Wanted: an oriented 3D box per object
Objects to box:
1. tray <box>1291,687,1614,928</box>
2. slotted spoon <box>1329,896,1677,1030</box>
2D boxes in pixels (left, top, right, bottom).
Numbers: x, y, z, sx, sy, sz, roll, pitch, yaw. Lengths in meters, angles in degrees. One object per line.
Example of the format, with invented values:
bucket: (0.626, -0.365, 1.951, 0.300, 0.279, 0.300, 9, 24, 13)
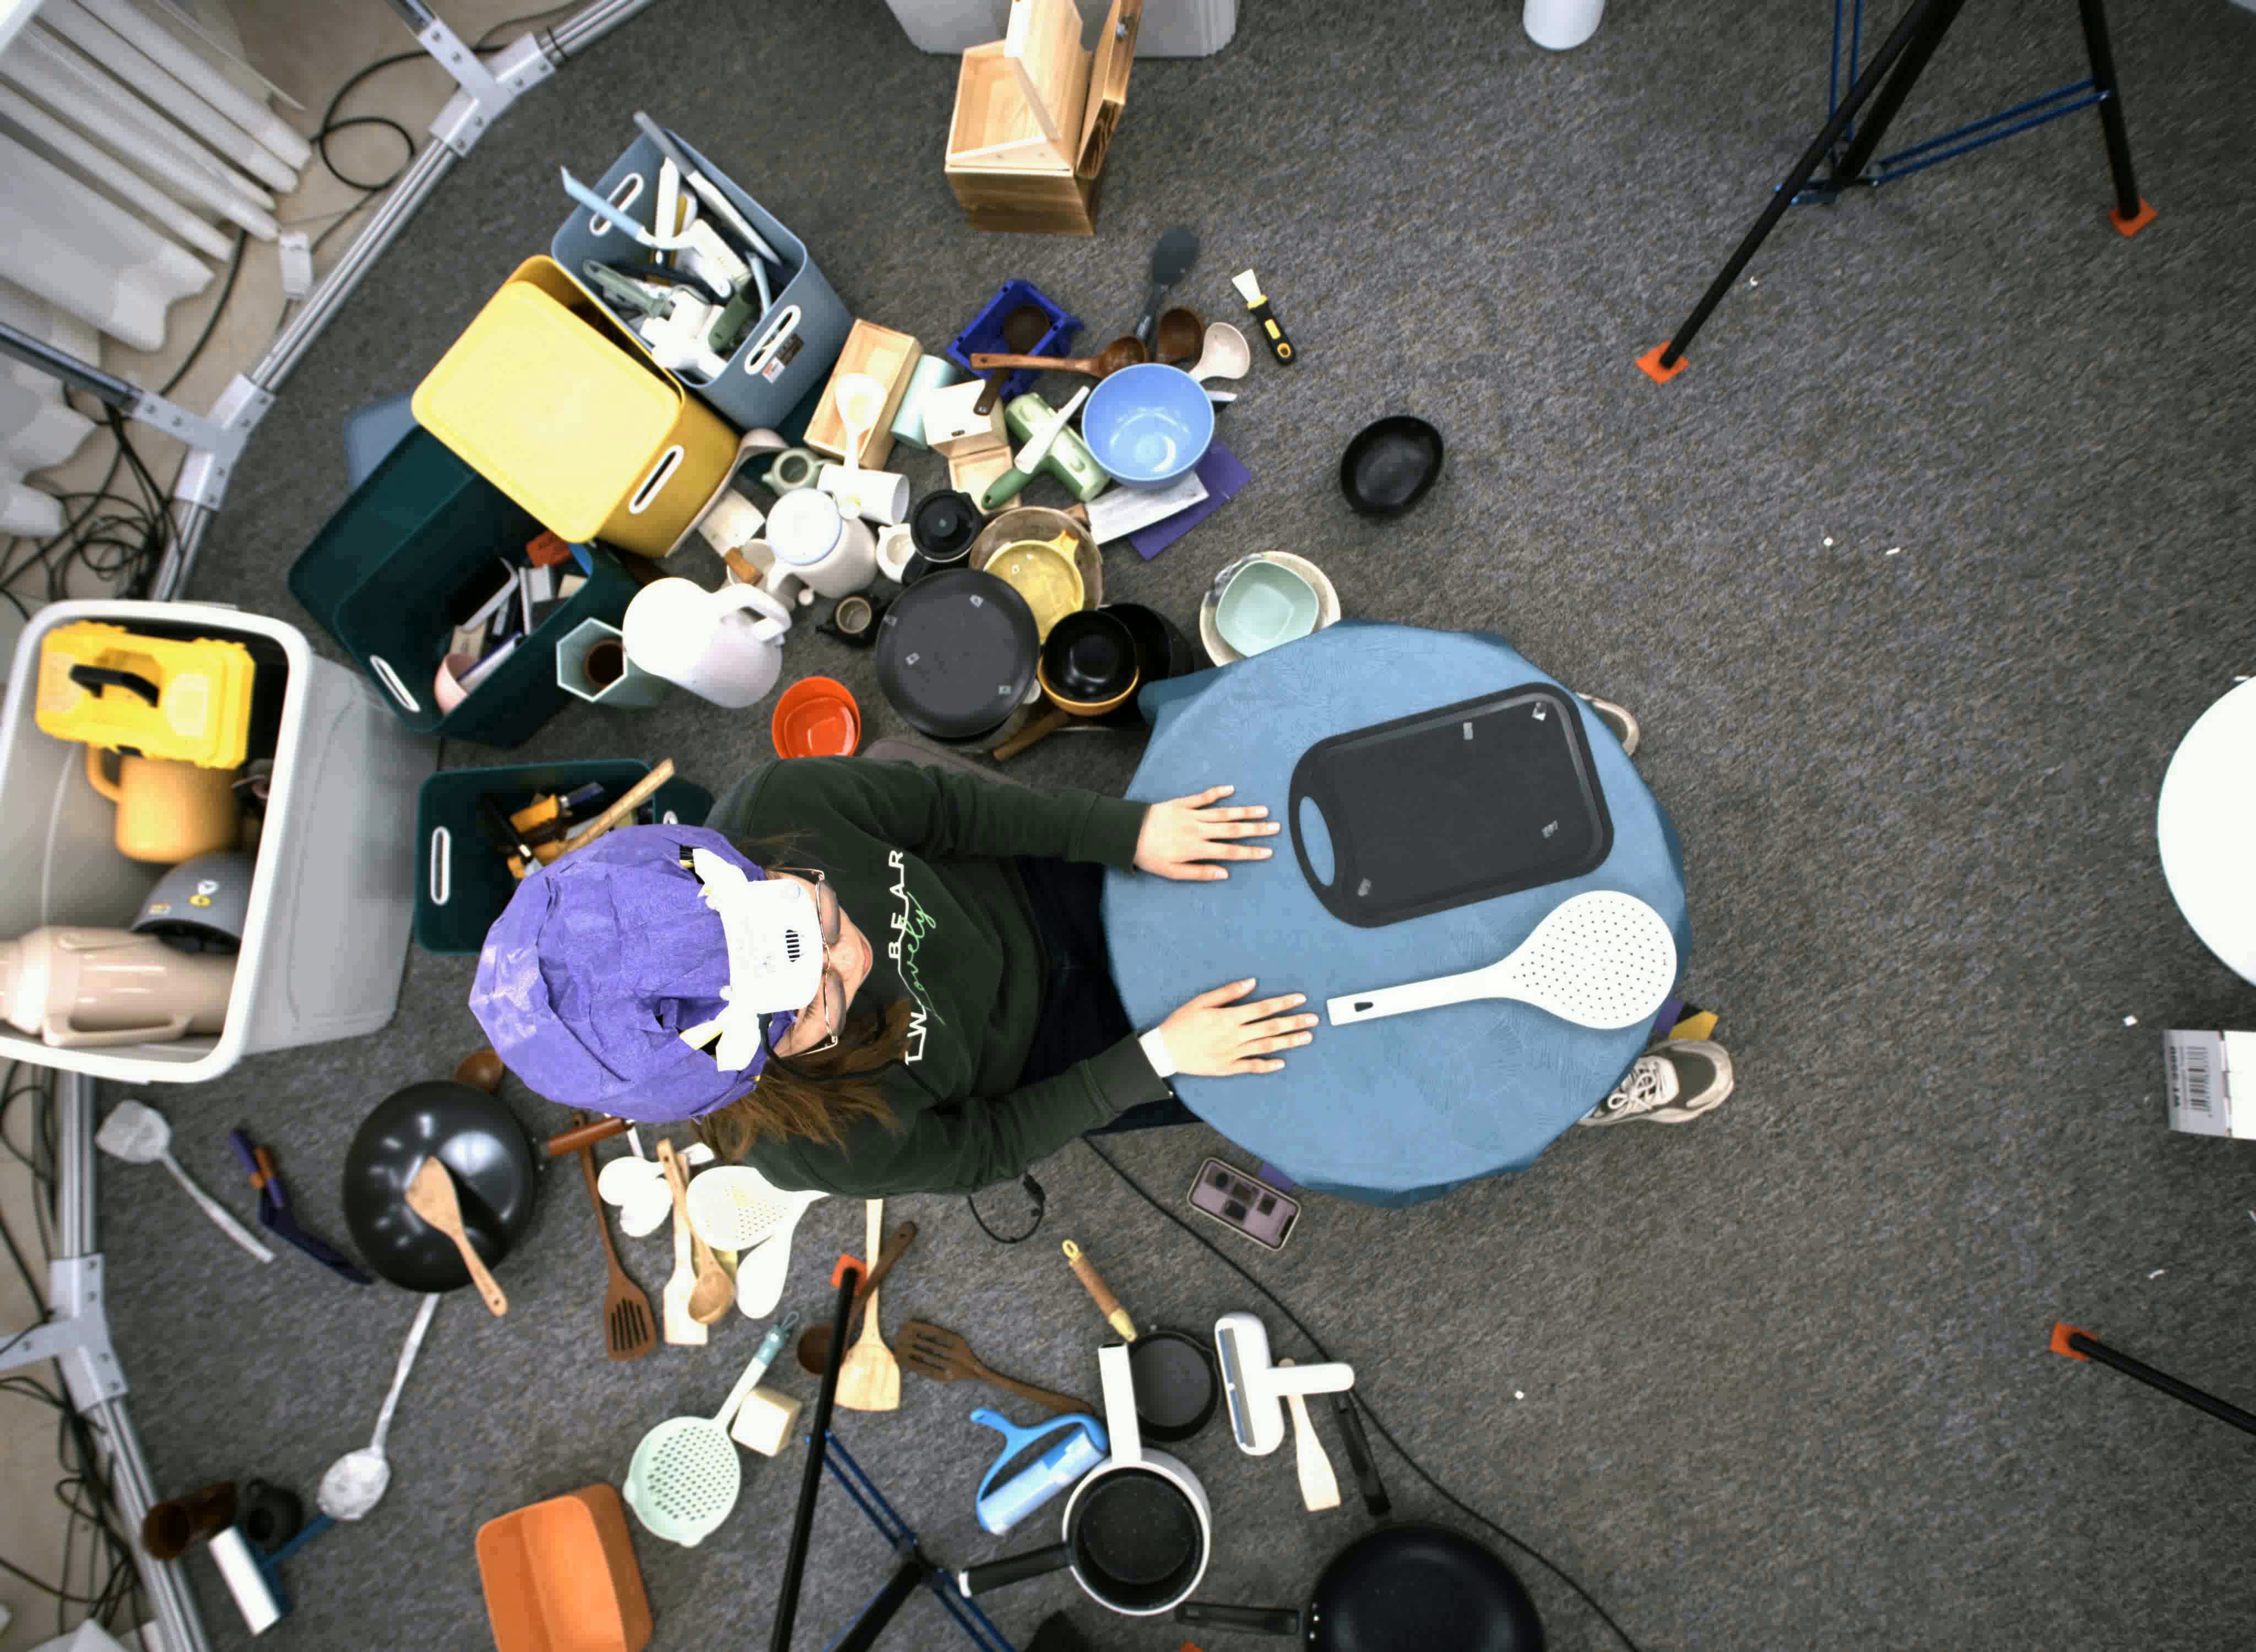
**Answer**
tray: (0.336, -0.019, 1.455, 0.327, 0.010, 0.209, -15, 83, 9)
slotted spoon: (0.380, 0.159, 1.416, 0.352, 0.046, 0.135, -12, 82, 10)
